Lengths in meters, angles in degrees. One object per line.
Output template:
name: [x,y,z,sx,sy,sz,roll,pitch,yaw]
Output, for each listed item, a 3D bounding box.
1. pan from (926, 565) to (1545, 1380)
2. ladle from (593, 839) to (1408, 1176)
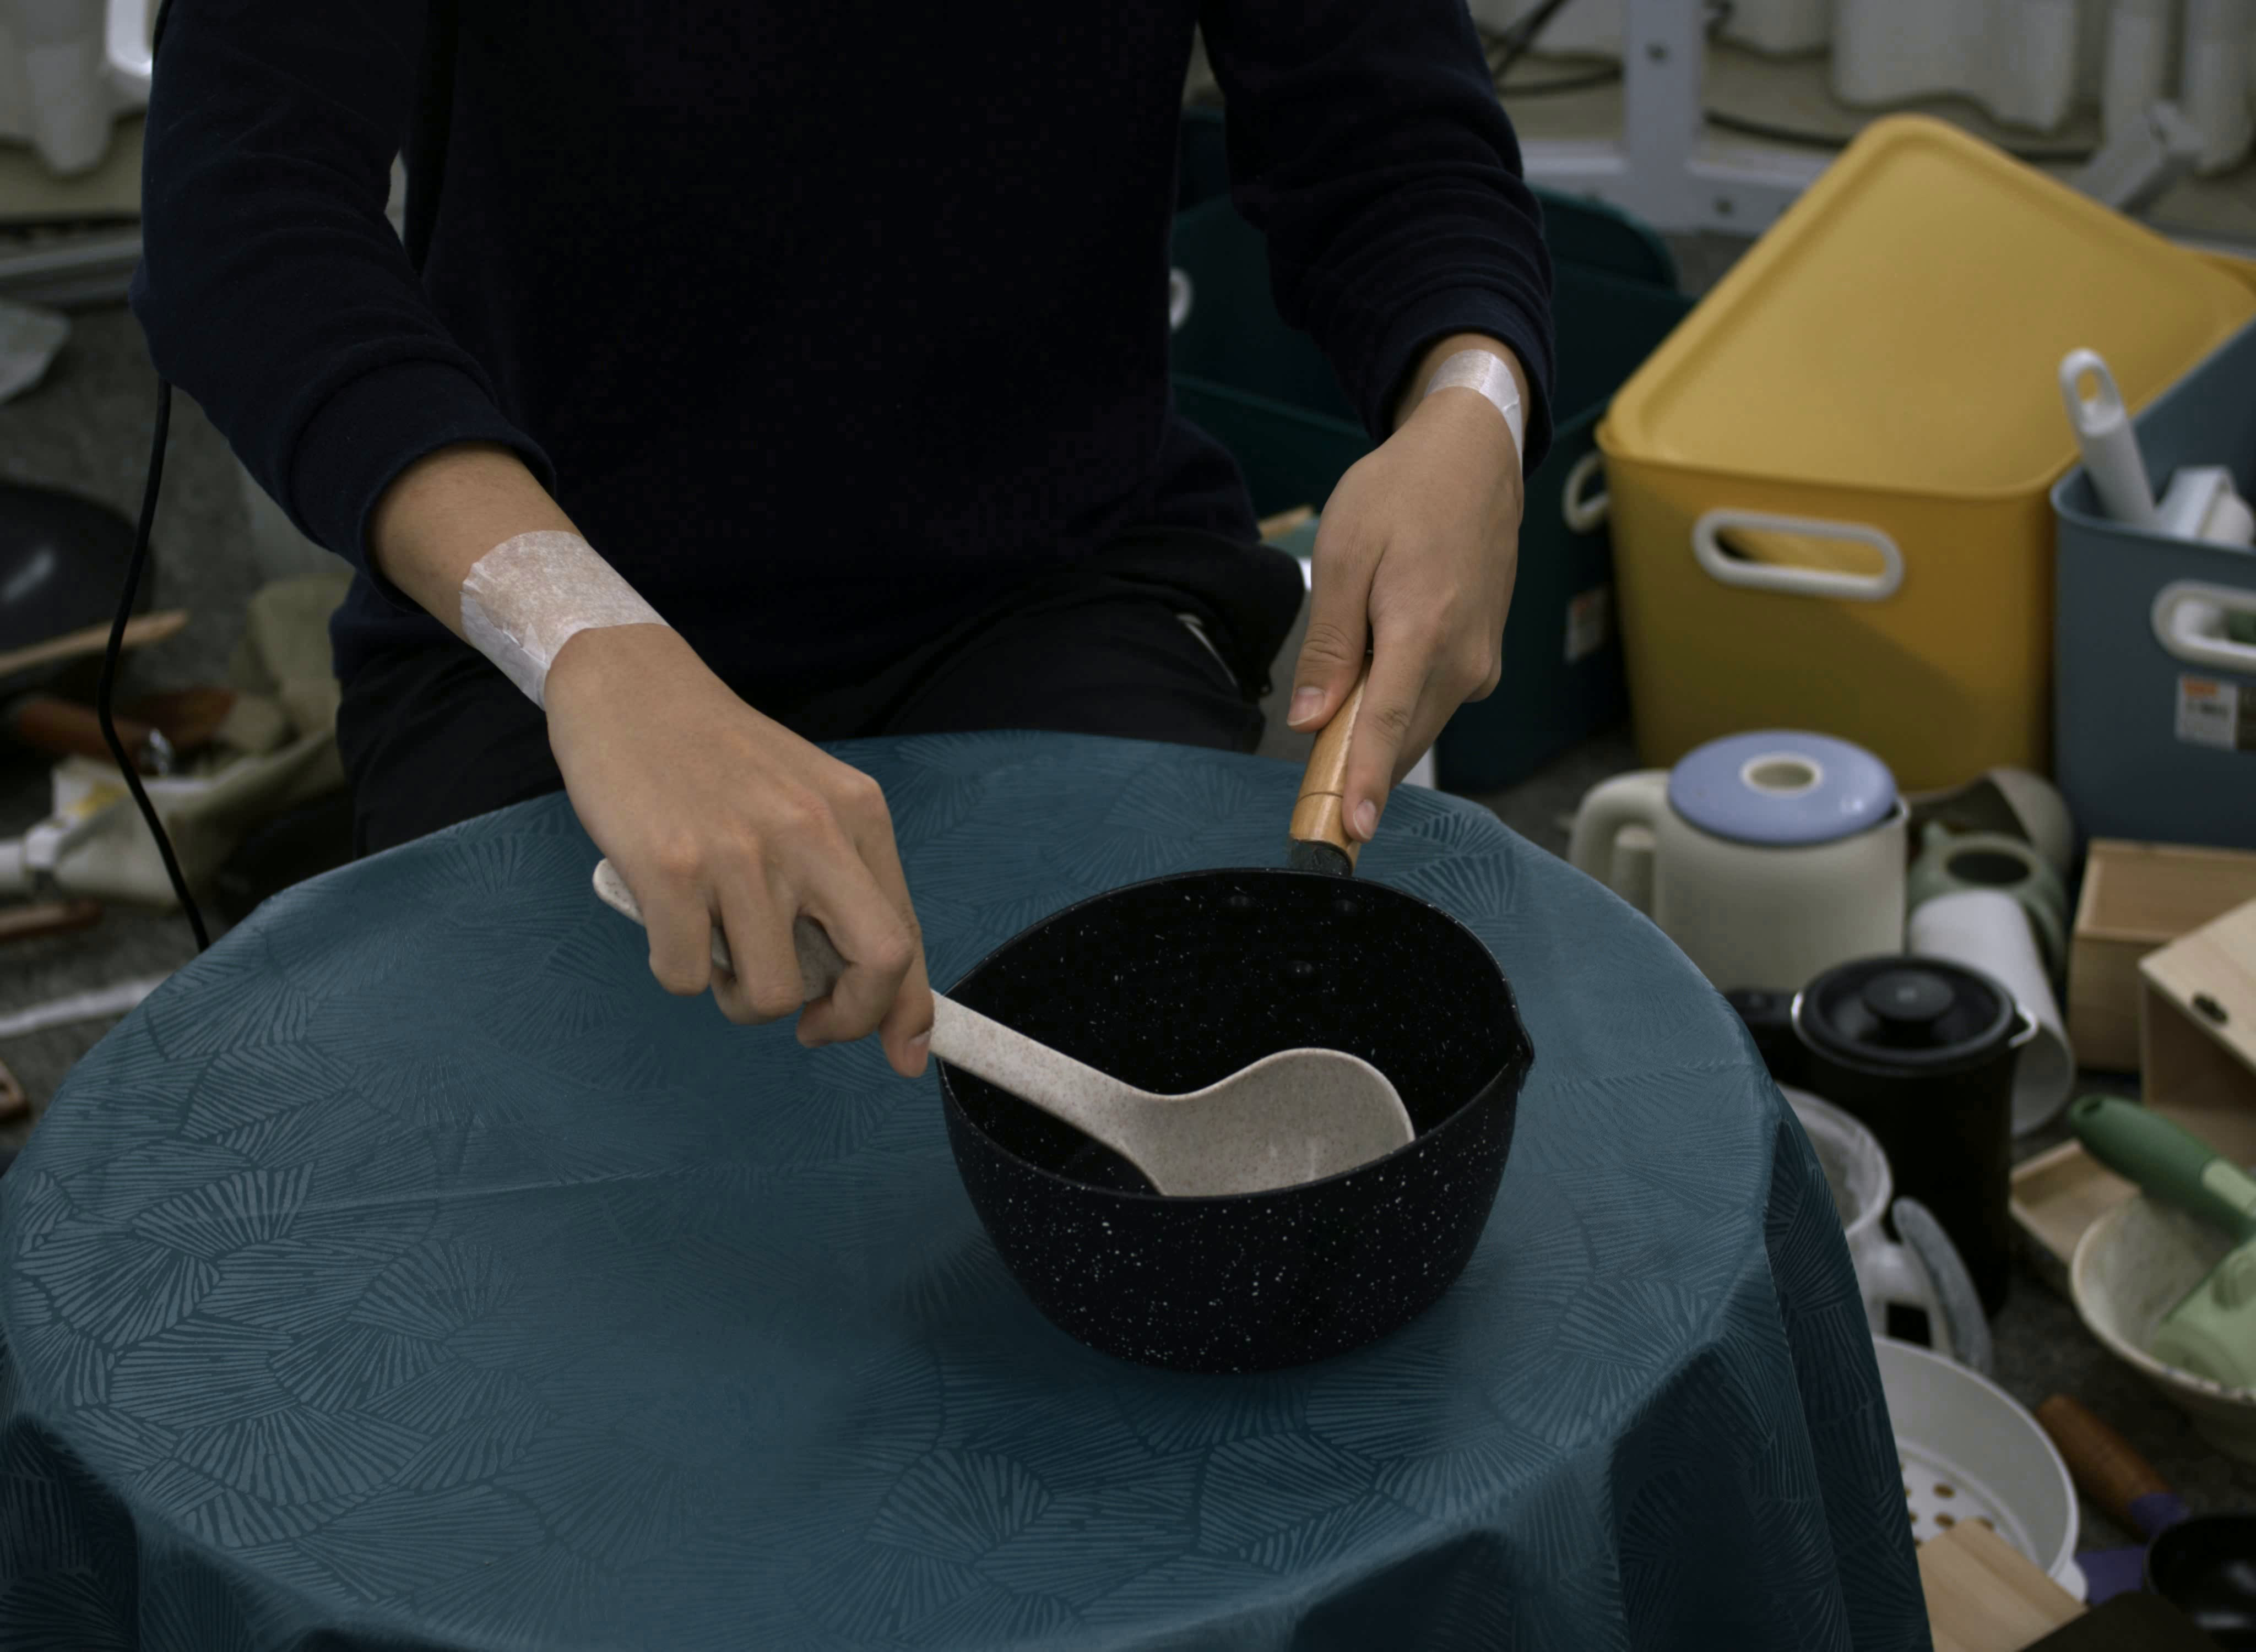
pan: [0.053,0.045,1.862,0.206,0.107,0.349,2,34,15]
ladle: [-0.036,0.063,1.752,0.274,0.091,0.068,28,-23,-21]
